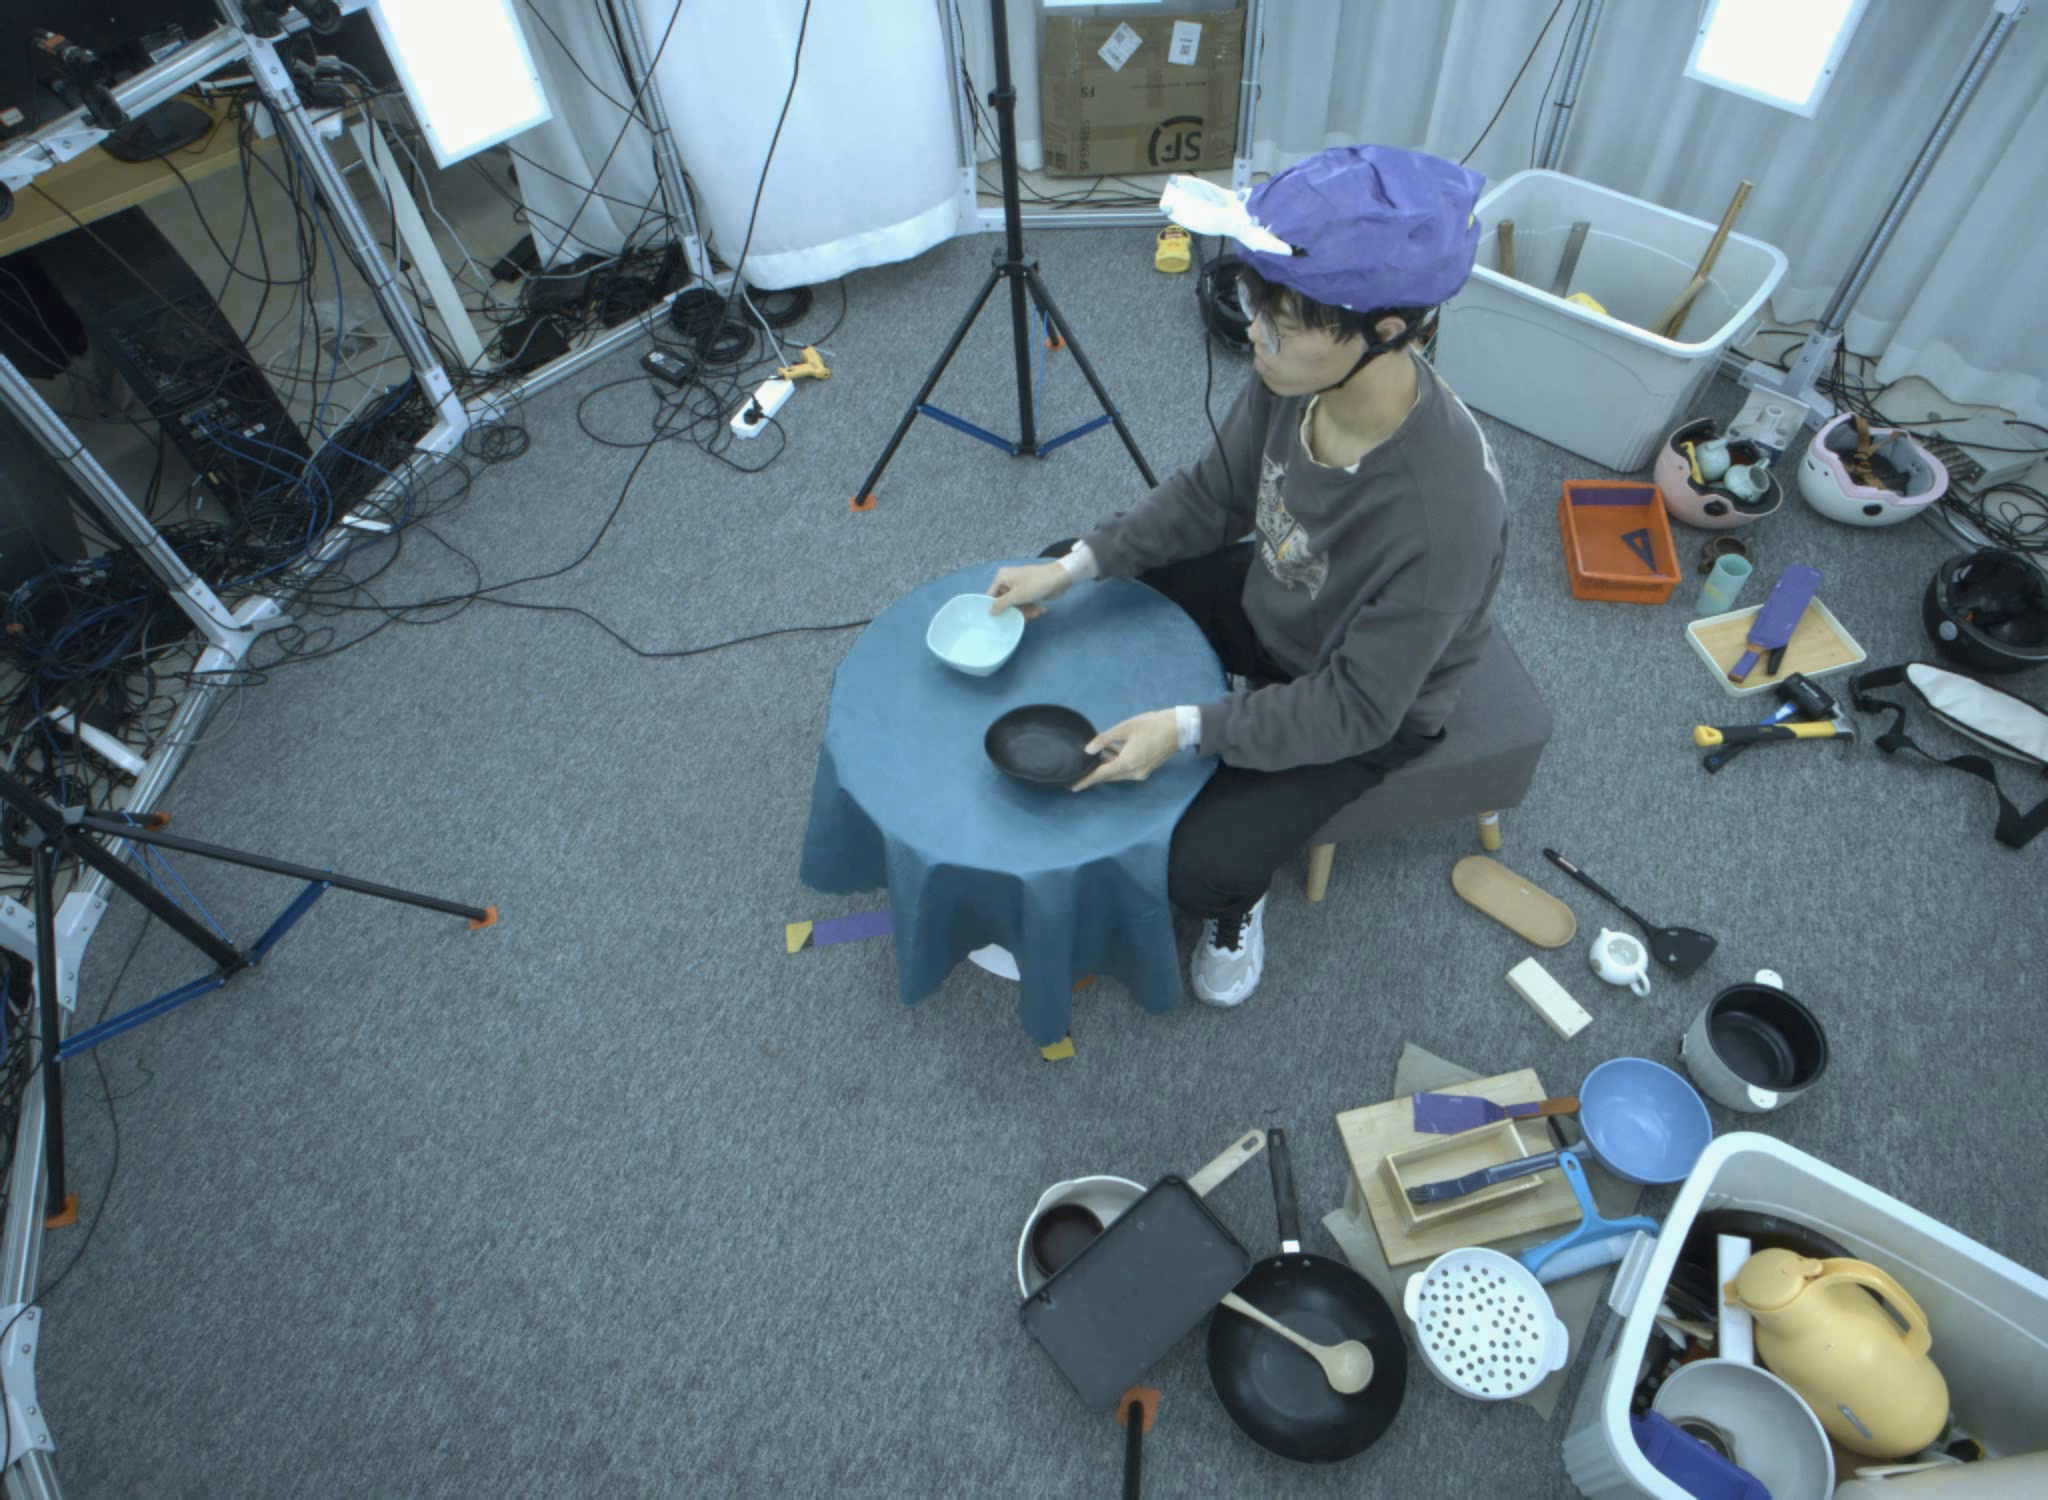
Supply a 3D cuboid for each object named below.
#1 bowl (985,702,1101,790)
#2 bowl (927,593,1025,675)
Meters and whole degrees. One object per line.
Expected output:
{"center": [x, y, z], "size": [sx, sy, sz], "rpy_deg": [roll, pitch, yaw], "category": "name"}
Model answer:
{"center": [0.026, 0.005, 1.741], "size": [0.168, 0.067, 0.137], "rpy_deg": [13, 56, 13], "category": "bowl"}
{"center": [-0.071, -0.167, 1.872], "size": [0.151, 0.059, 0.150], "rpy_deg": [-1, 56, 3], "category": "bowl"}
